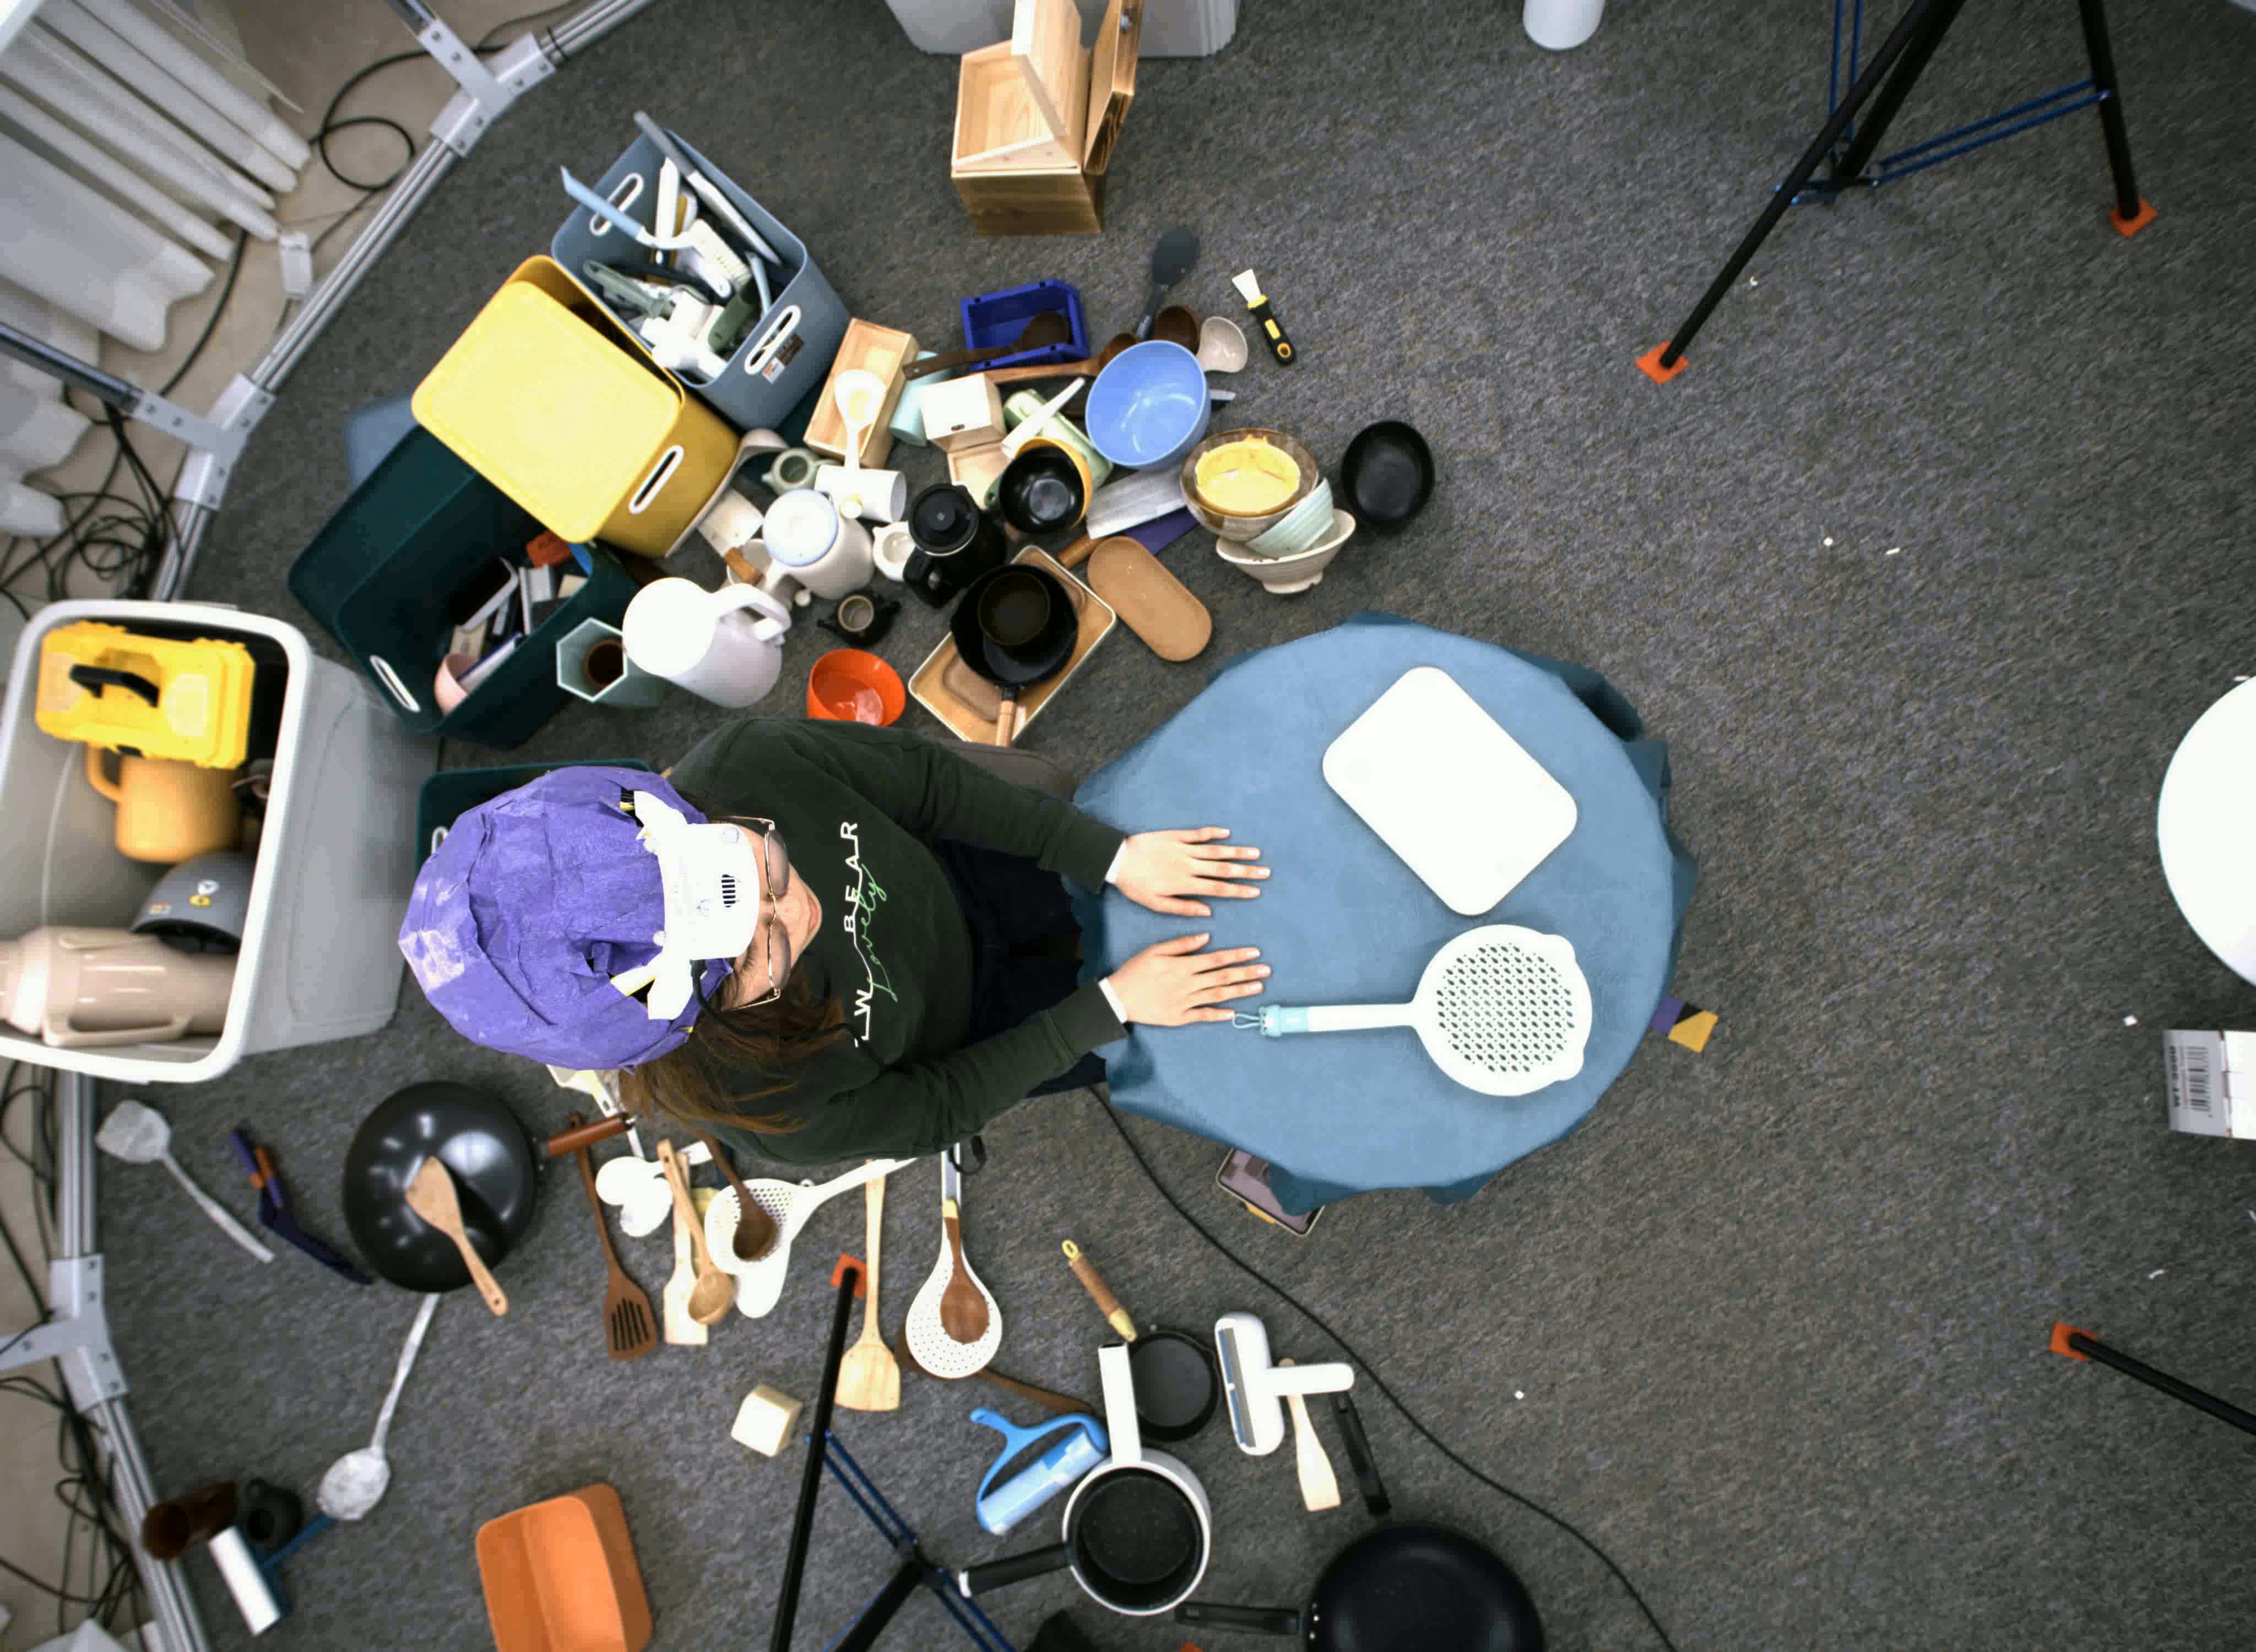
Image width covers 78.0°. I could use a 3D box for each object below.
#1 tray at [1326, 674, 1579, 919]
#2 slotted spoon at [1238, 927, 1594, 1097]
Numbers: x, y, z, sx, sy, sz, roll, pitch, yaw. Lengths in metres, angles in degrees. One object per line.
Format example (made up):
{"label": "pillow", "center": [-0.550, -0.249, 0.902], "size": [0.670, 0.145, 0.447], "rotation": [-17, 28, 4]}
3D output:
{"label": "tray", "center": [0.340, -0.034, 1.451], "size": [0.172, 0.017, 0.238], "rotation": [-44, 79, 4]}
{"label": "slotted spoon", "center": [0.289, 0.194, 1.421], "size": [0.360, 0.075, 0.168], "rotation": [-4, 84, 11]}
